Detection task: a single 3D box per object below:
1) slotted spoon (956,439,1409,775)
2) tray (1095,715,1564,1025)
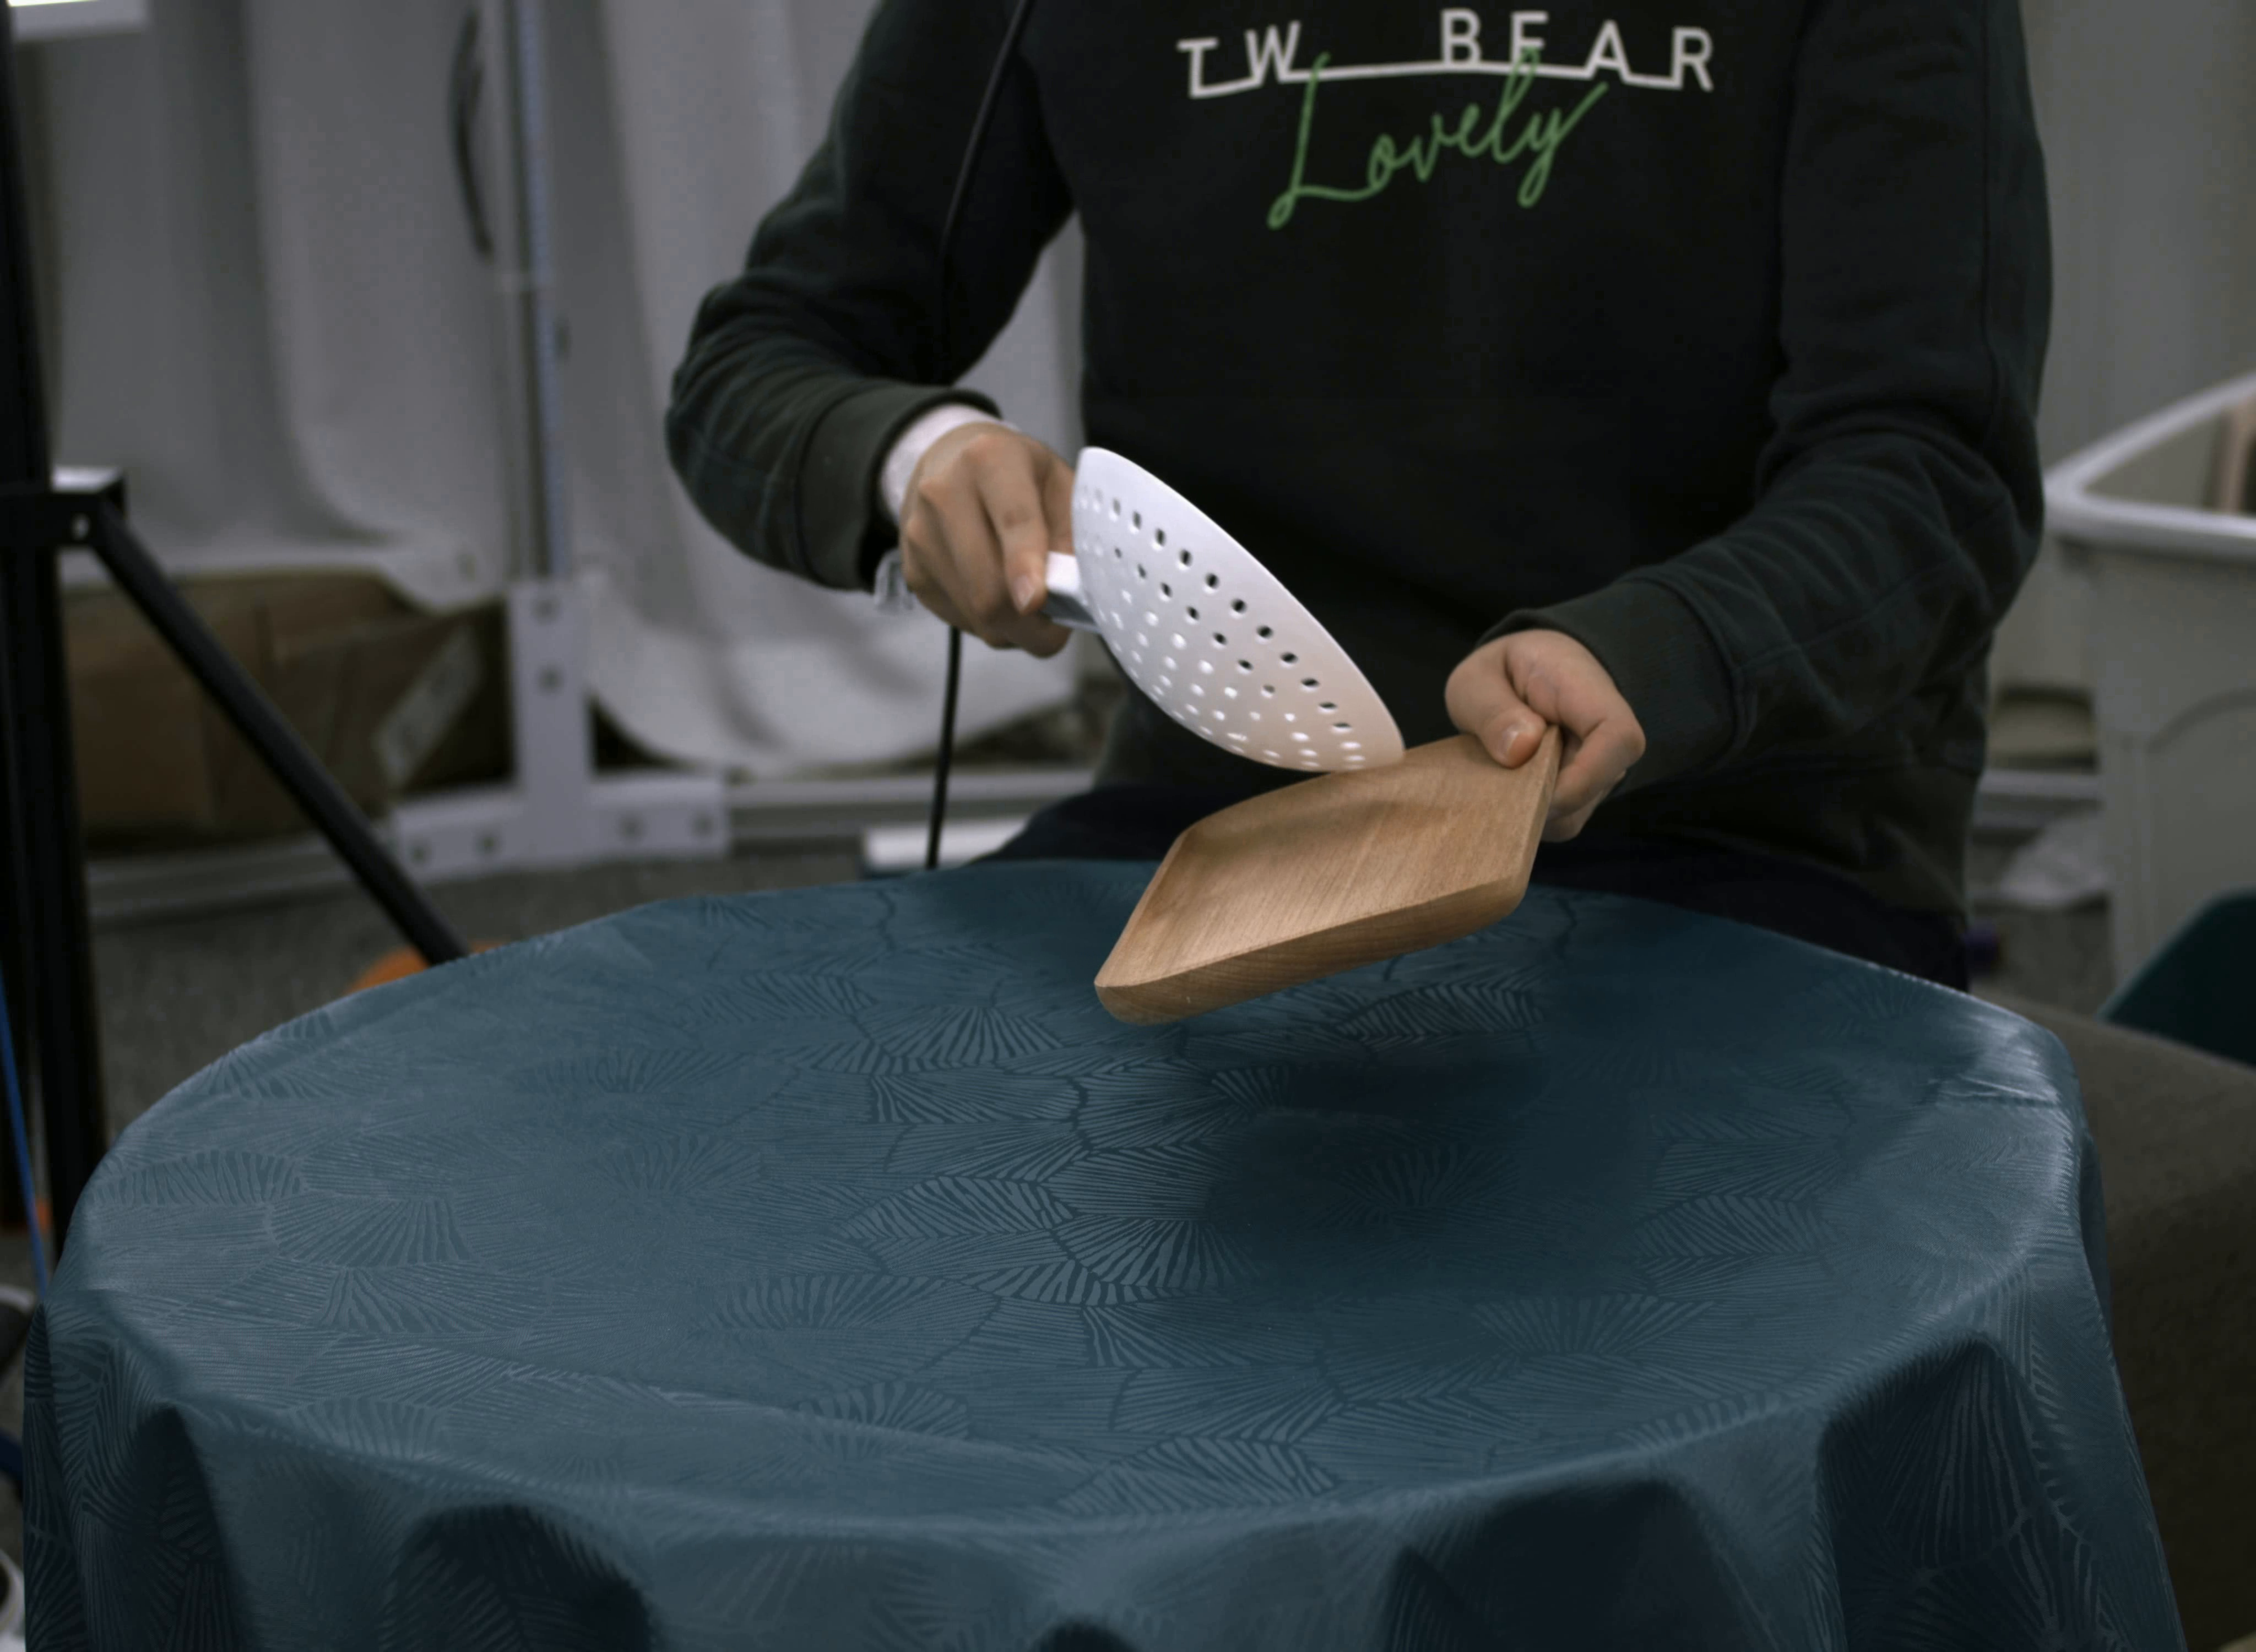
[{"bbox_3d":[0.001,-0.073,1.743,0.045,0.134,0.354,-43,16,-4],"label":"slotted spoon"},{"bbox_3d":[0.065,0.011,1.577,0.131,0.023,0.249,-15,9,11],"label":"tray"}]
